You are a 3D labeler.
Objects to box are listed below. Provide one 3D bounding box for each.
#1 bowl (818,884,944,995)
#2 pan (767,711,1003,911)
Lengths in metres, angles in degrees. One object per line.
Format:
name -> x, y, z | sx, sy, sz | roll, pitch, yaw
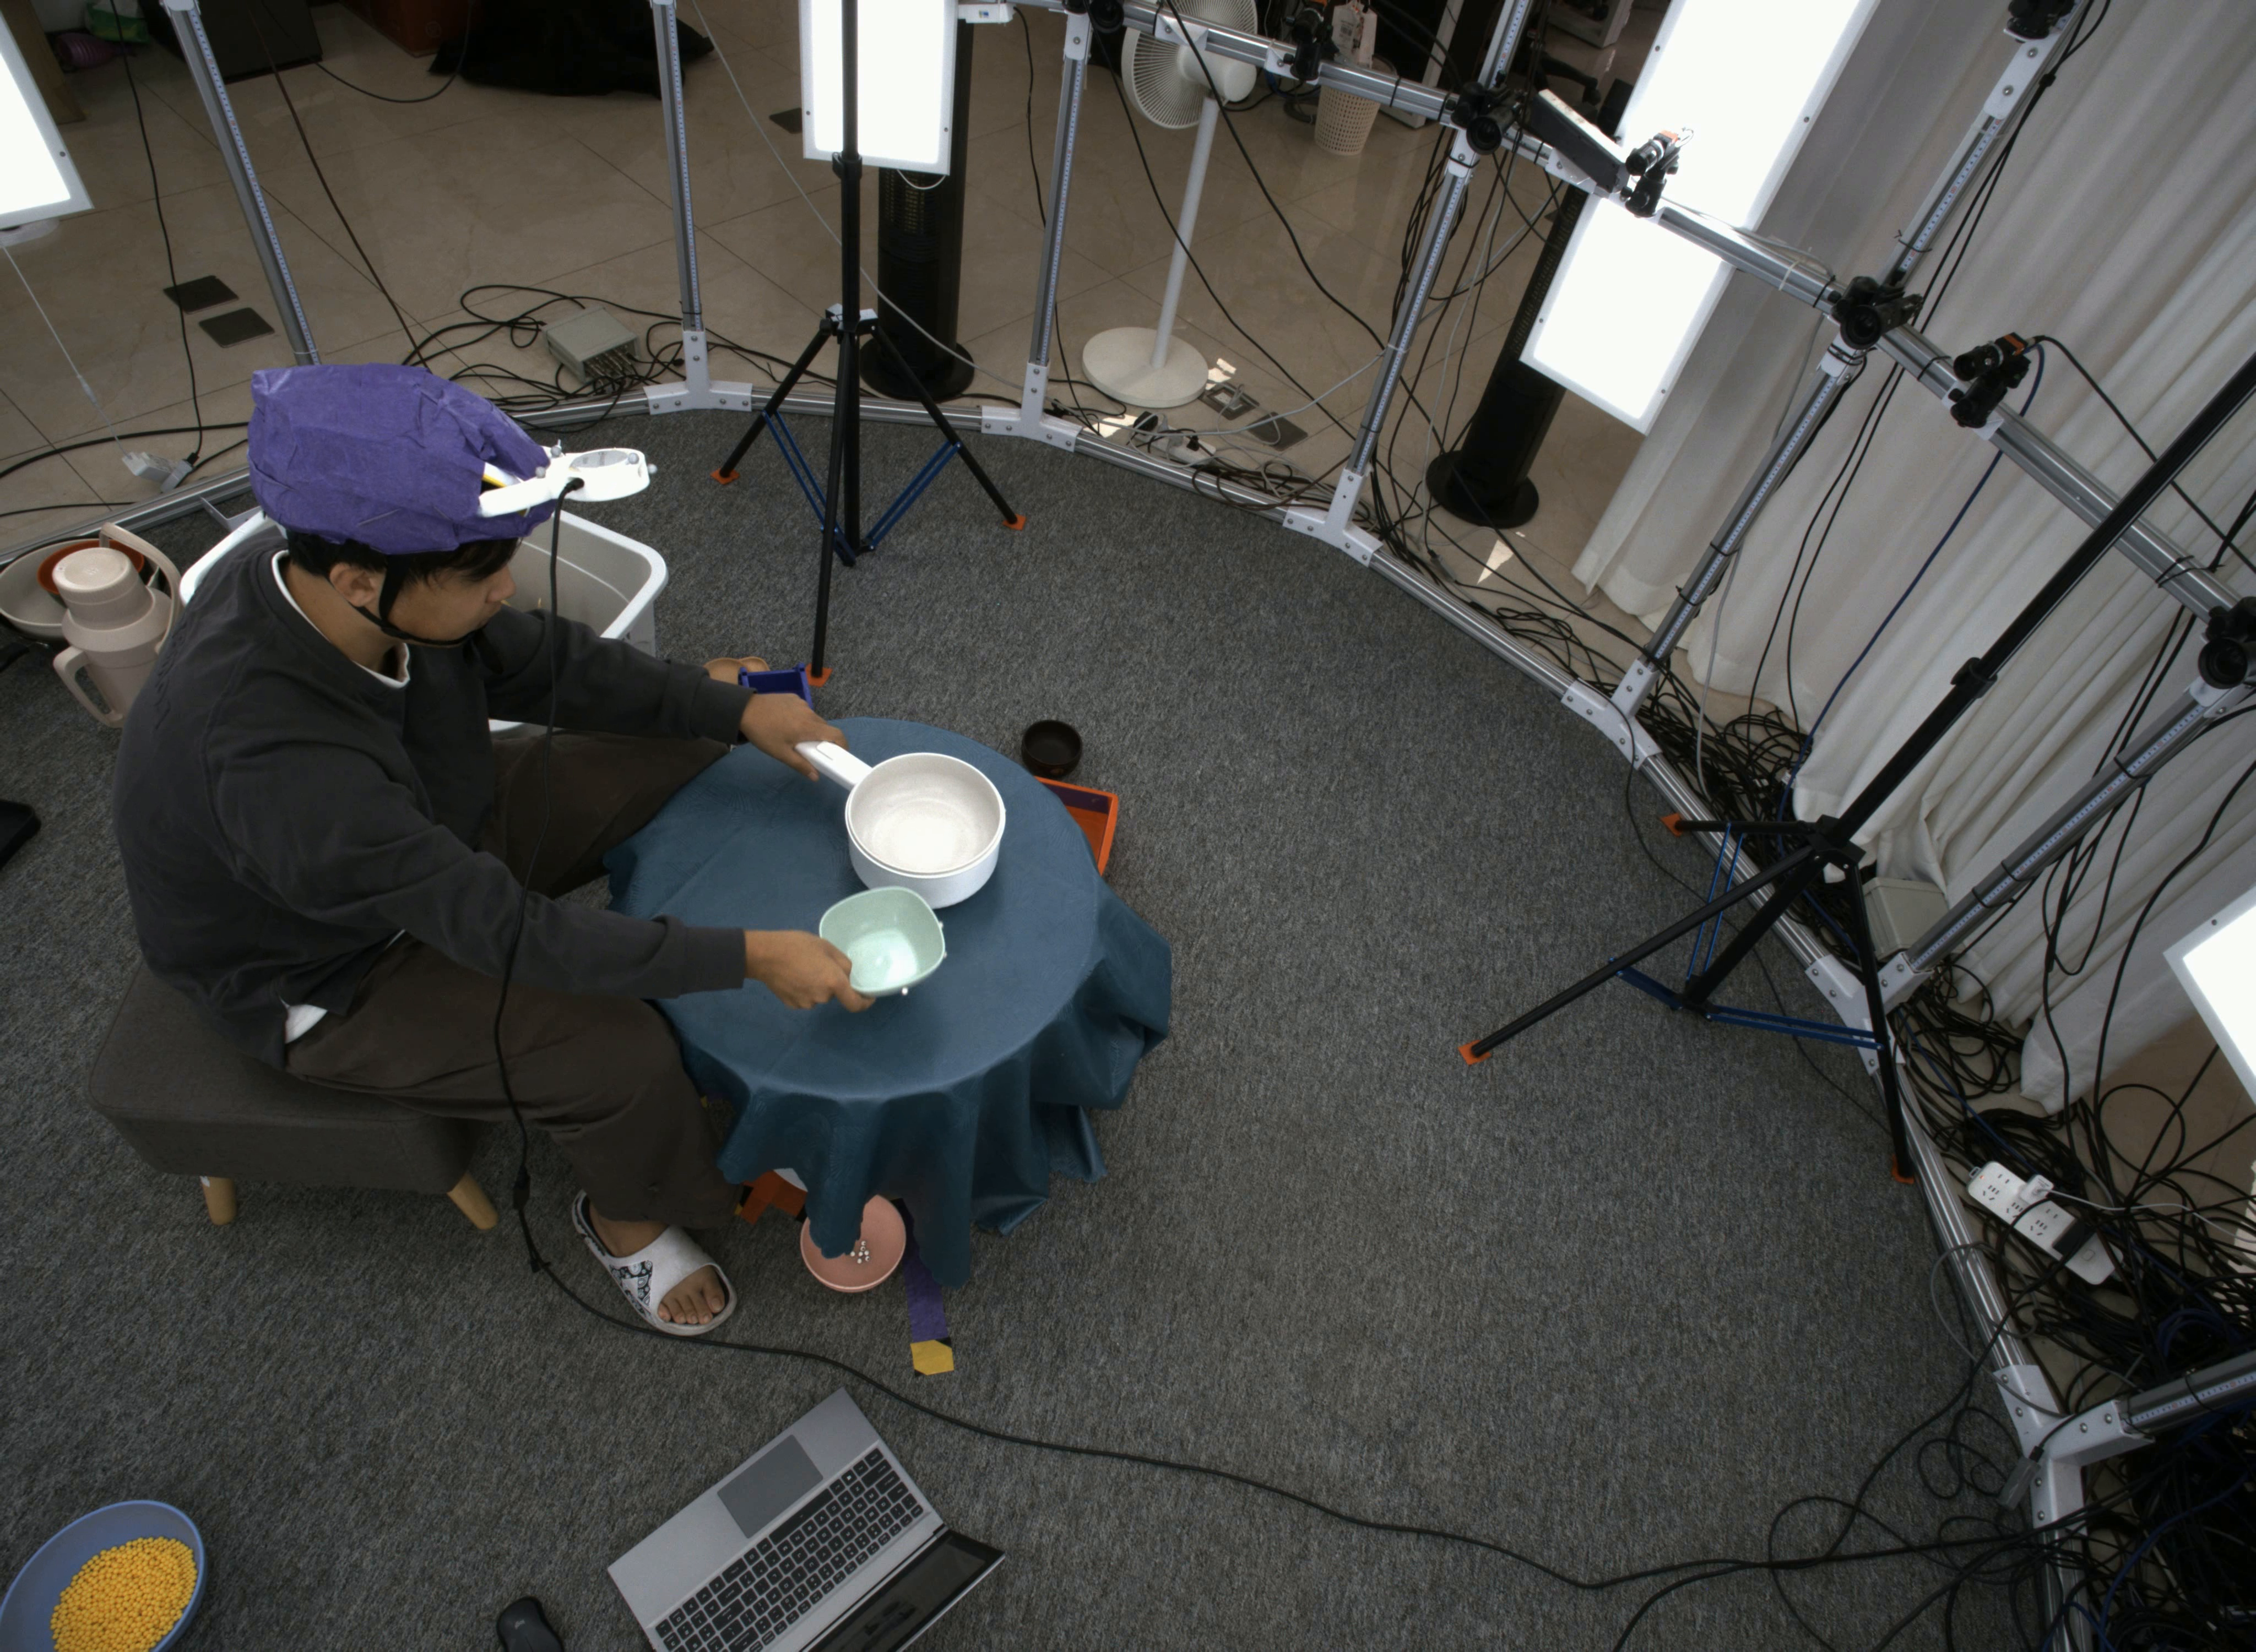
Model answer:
bowl -> -0.291, 0.142, 1.531 | 0.151, 0.060, 0.148 | 8, 51, -8
pan -> -0.327, -0.026, 1.705 | 0.348, 0.104, 0.201 | 31, 54, 12
